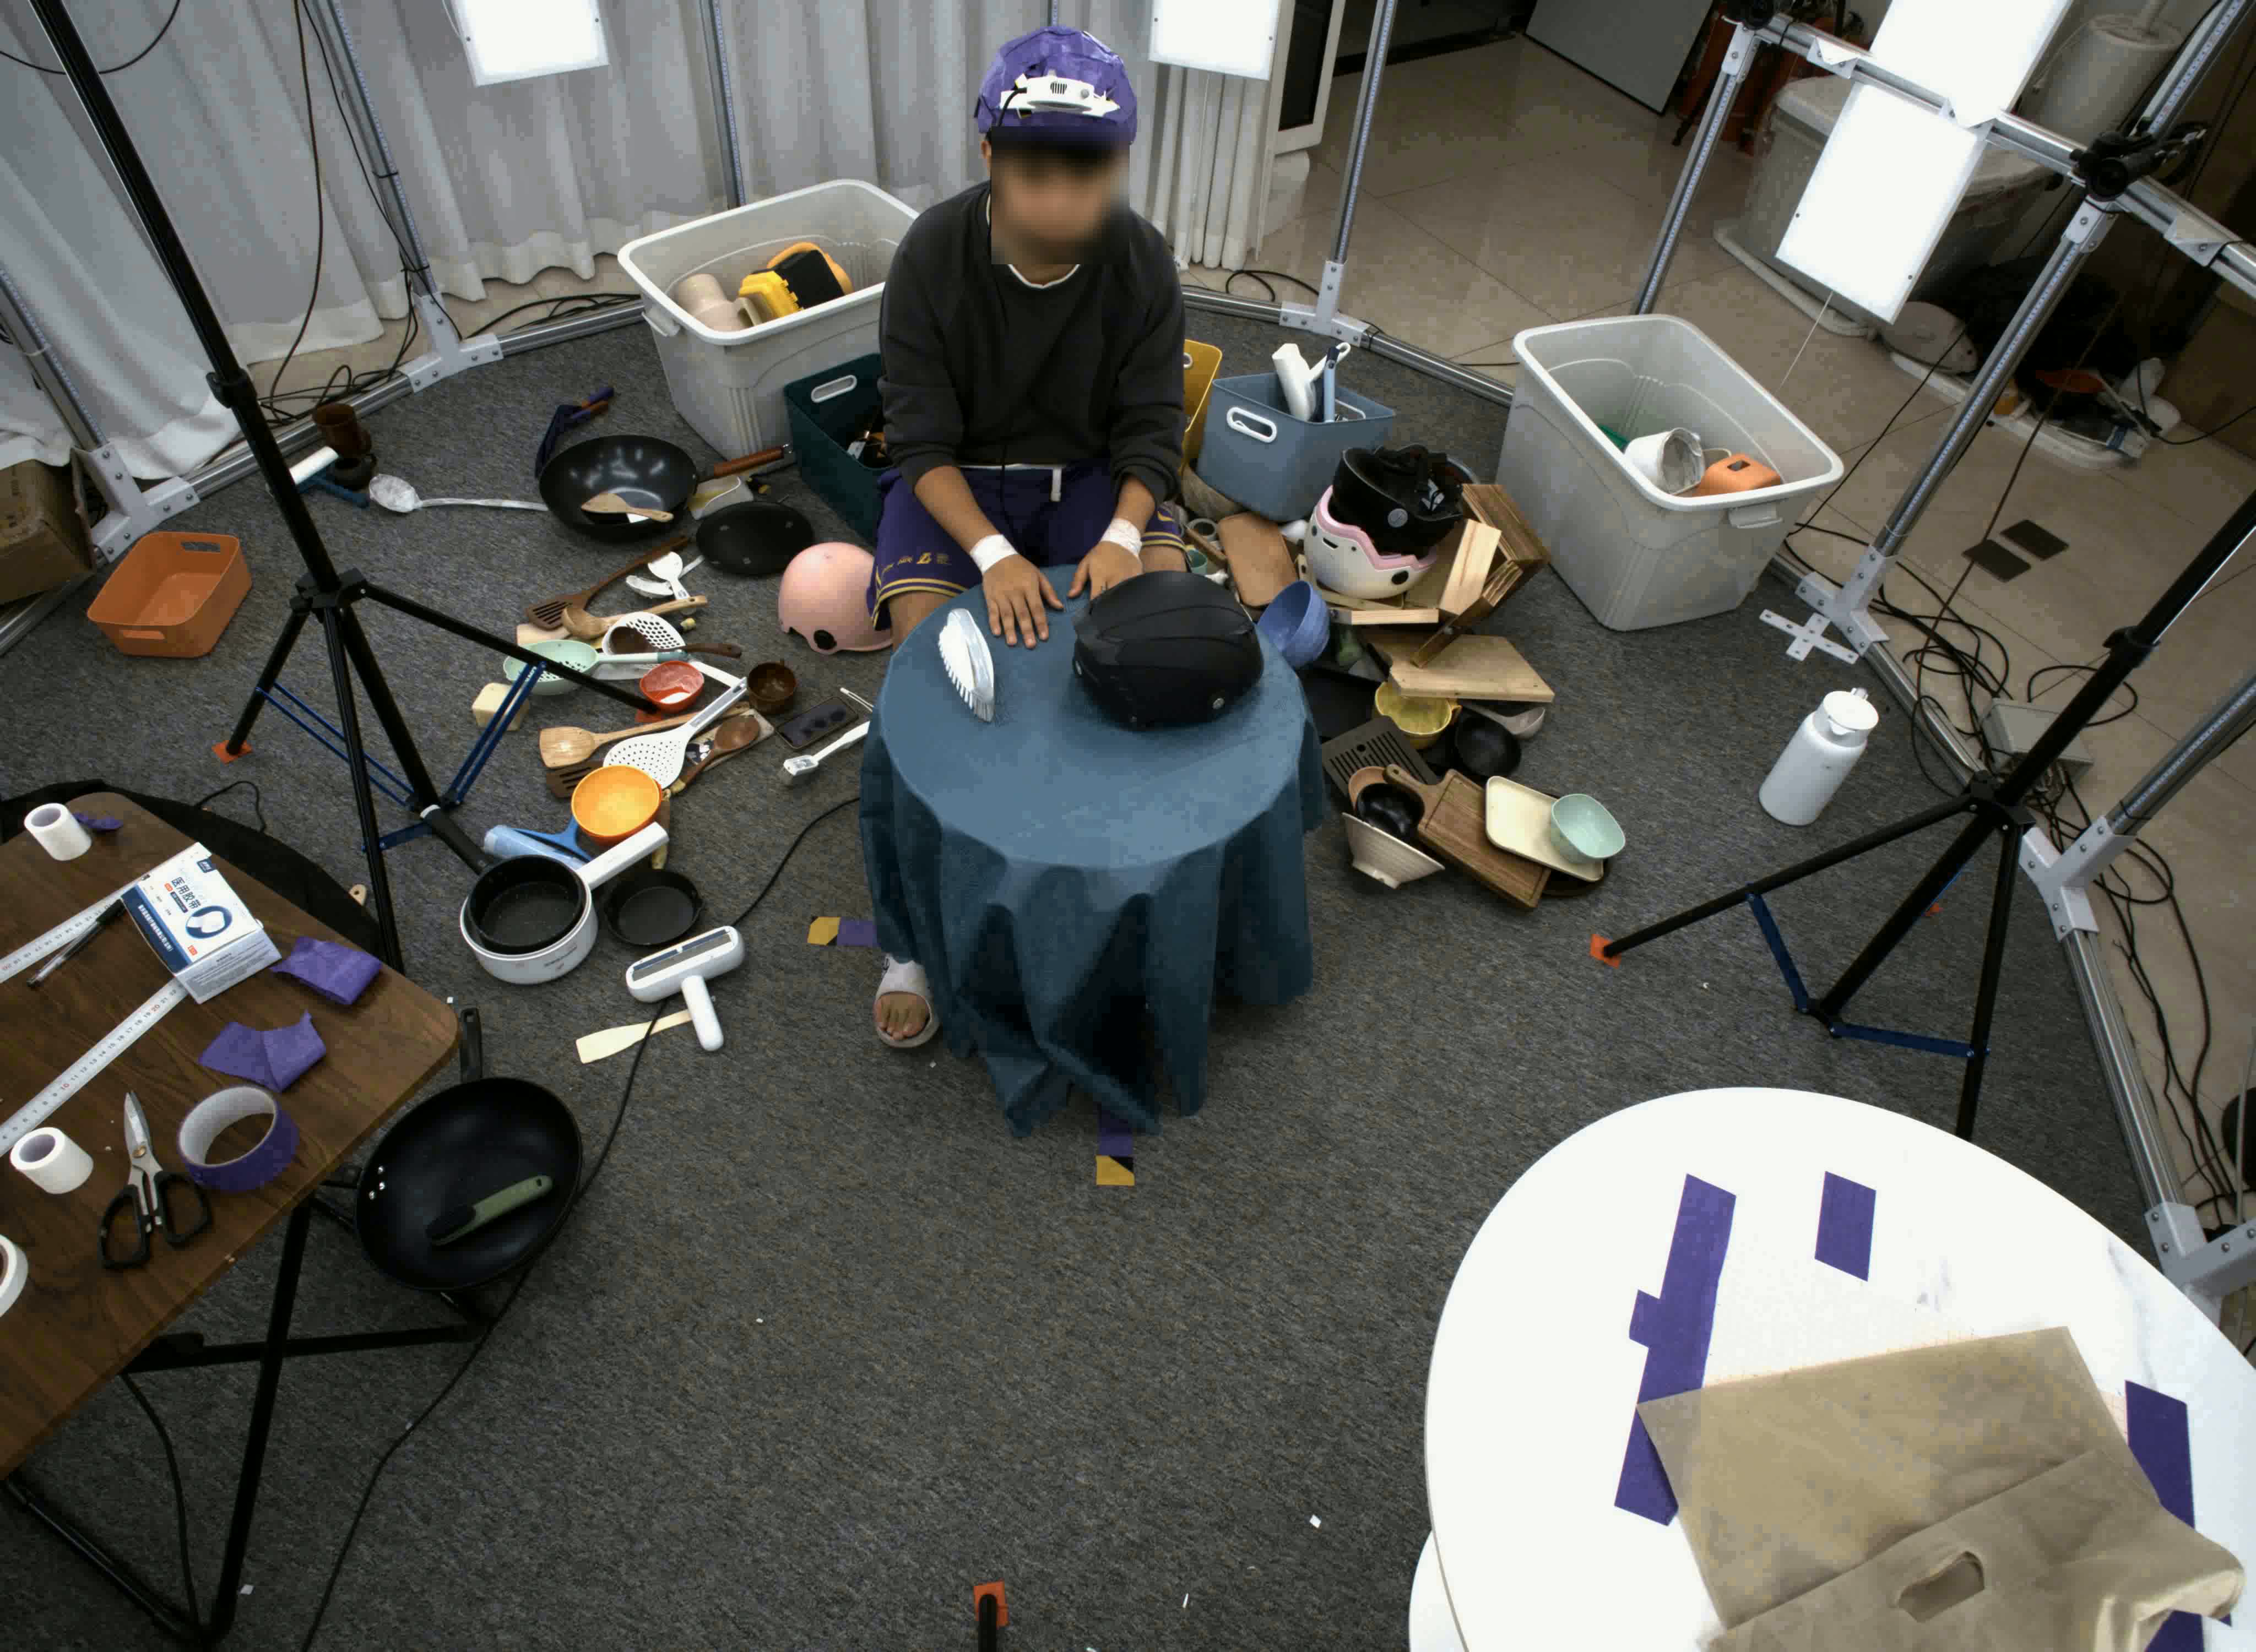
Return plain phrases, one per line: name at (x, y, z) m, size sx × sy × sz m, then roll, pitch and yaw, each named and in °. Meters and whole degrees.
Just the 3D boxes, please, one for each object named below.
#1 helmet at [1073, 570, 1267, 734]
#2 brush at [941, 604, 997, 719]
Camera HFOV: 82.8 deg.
helmet at (0.058, -0.265, 1.798) m, size 0.277 × 0.168 × 0.252 m, roll -15°, pitch 52°, yaw -12°
brush at (-0.217, -0.238, 1.800) m, size 0.061 × 0.092 × 0.180 m, roll -13°, pitch 53°, yaw -14°
